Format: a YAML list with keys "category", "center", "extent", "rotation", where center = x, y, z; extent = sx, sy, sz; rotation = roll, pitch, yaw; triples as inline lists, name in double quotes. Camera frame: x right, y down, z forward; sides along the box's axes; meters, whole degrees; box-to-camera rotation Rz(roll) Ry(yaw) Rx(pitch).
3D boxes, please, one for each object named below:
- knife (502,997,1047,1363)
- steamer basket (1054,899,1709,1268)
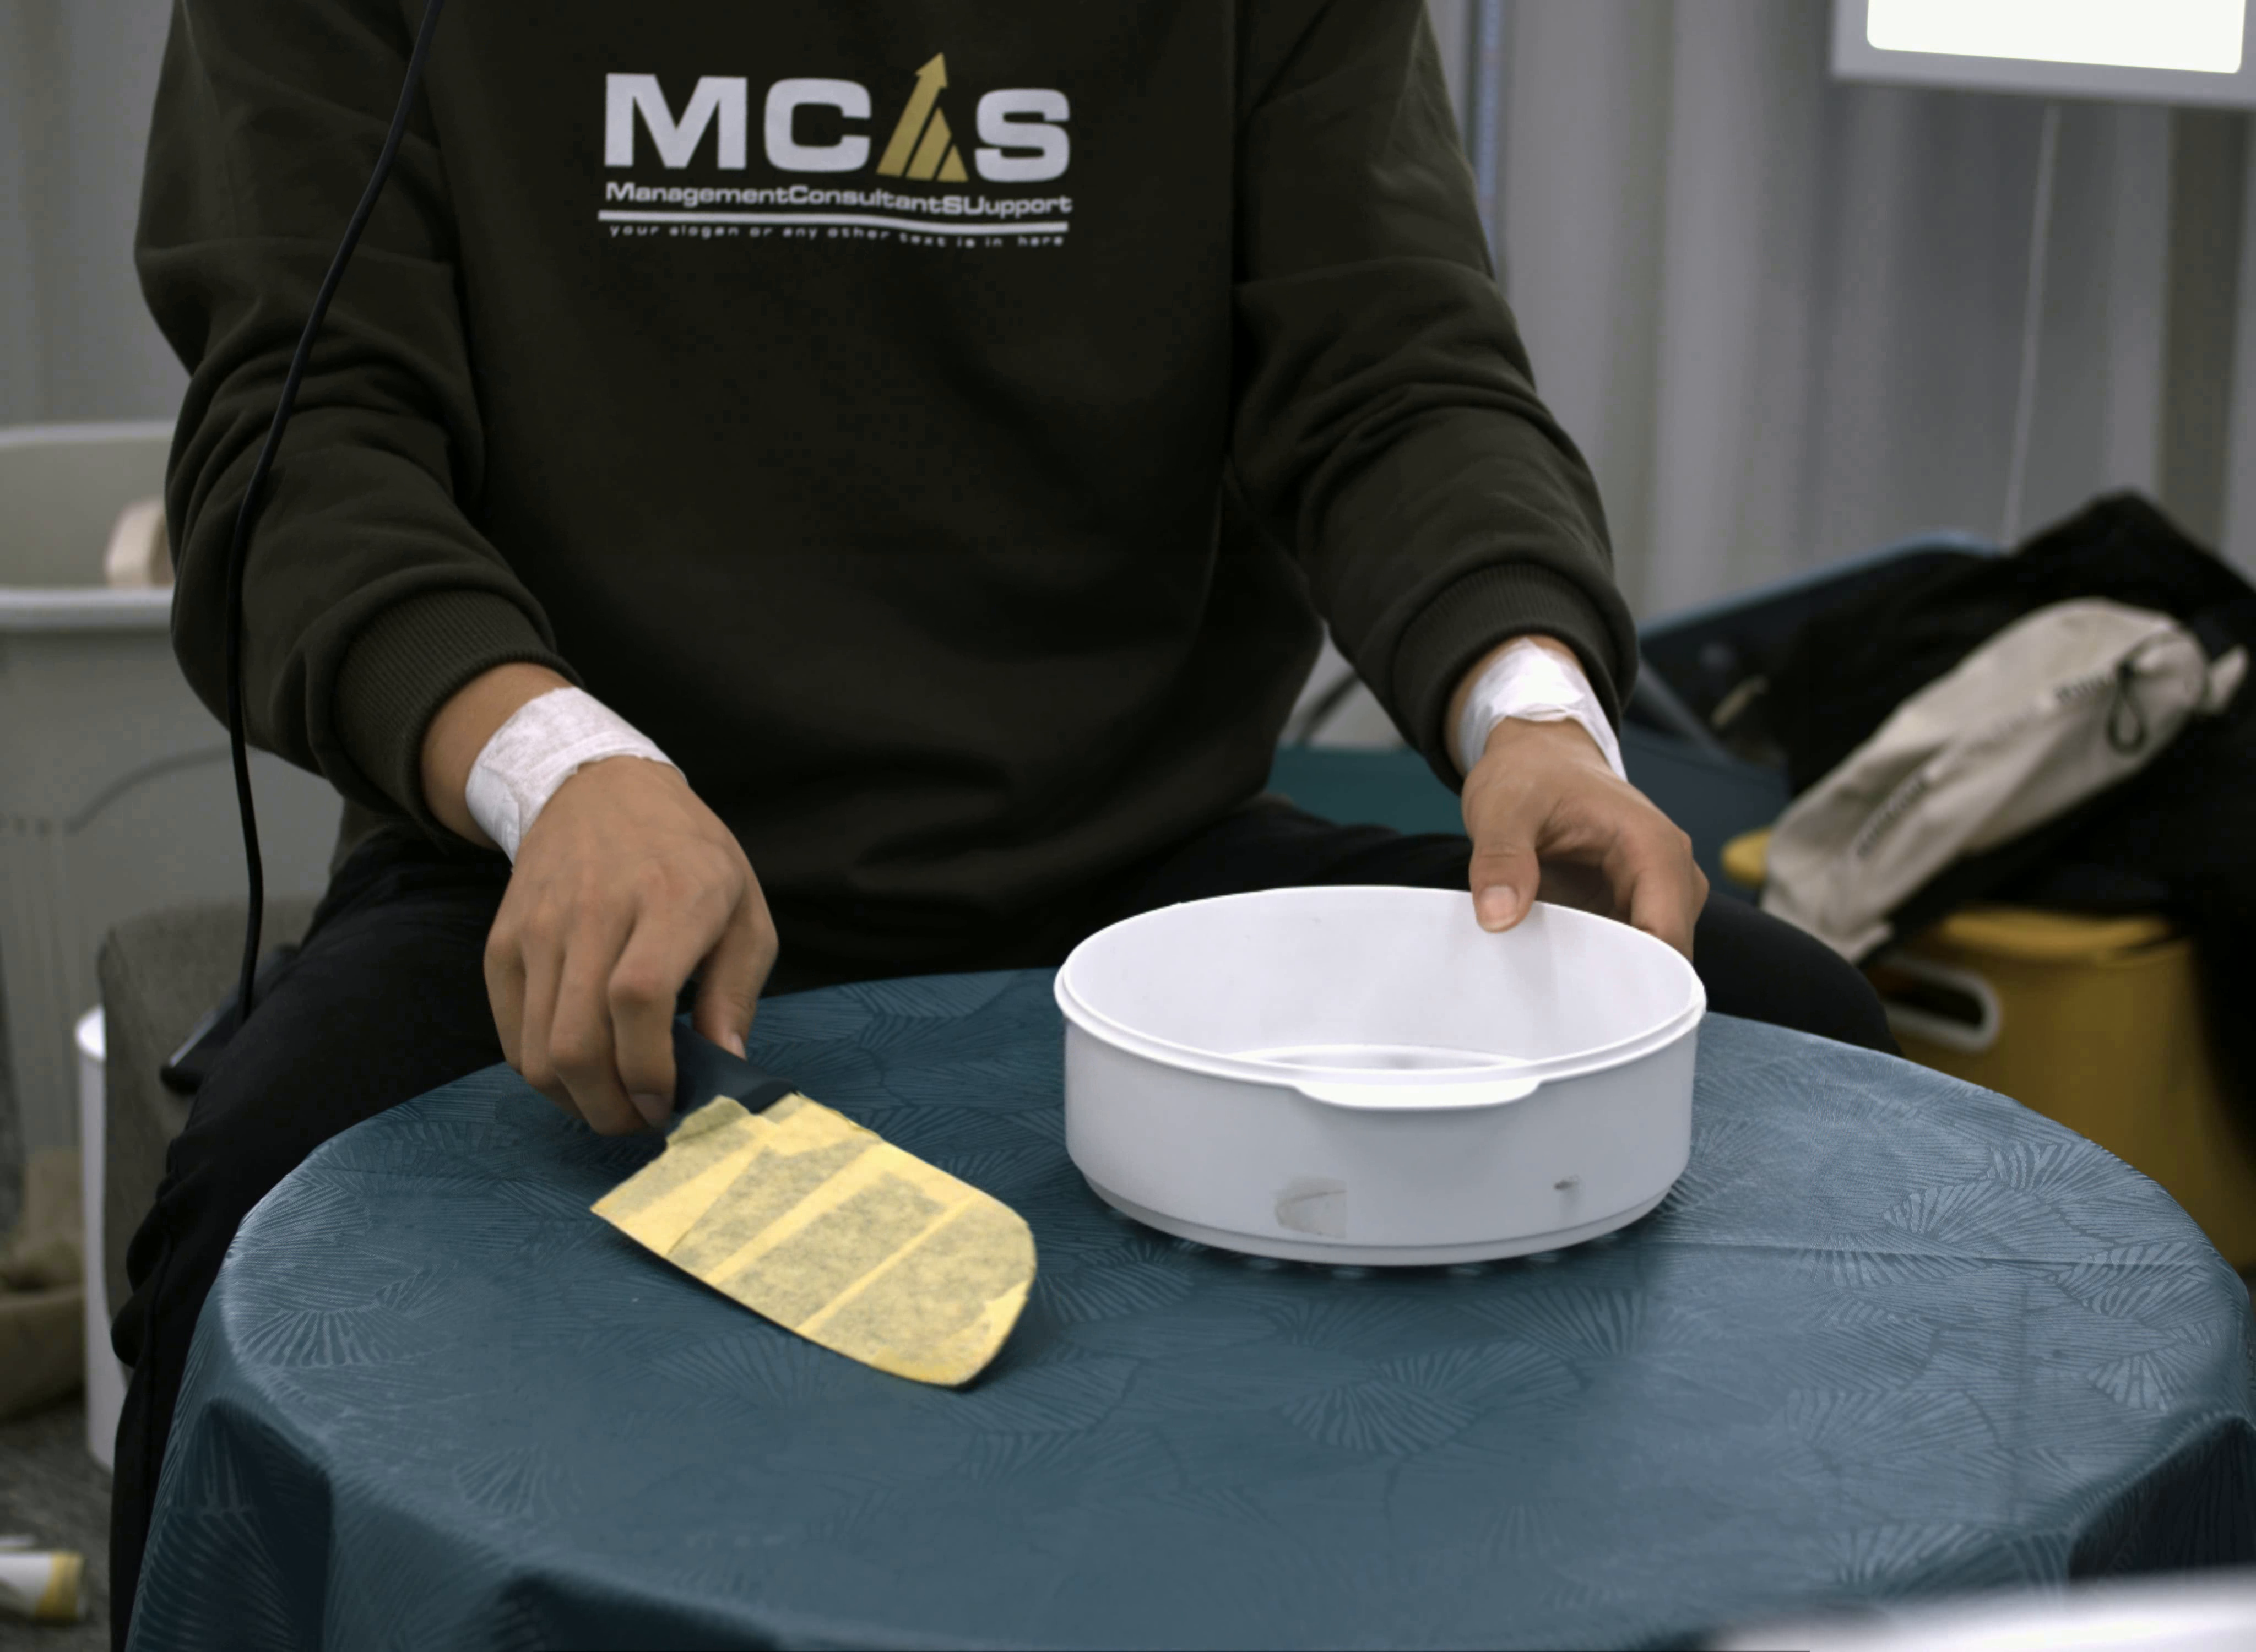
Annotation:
- category: "knife"
  center: [-0.117, 0.105, 1.575]
  extent: [0.081, 0.027, 0.285]
  rotation: [-32, 33, -25]
- category: "steamer basket"
  center: [0.077, 0.079, 1.623]
  extent: [0.201, 0.070, 0.229]
  rotation: [0, 14, -4]
